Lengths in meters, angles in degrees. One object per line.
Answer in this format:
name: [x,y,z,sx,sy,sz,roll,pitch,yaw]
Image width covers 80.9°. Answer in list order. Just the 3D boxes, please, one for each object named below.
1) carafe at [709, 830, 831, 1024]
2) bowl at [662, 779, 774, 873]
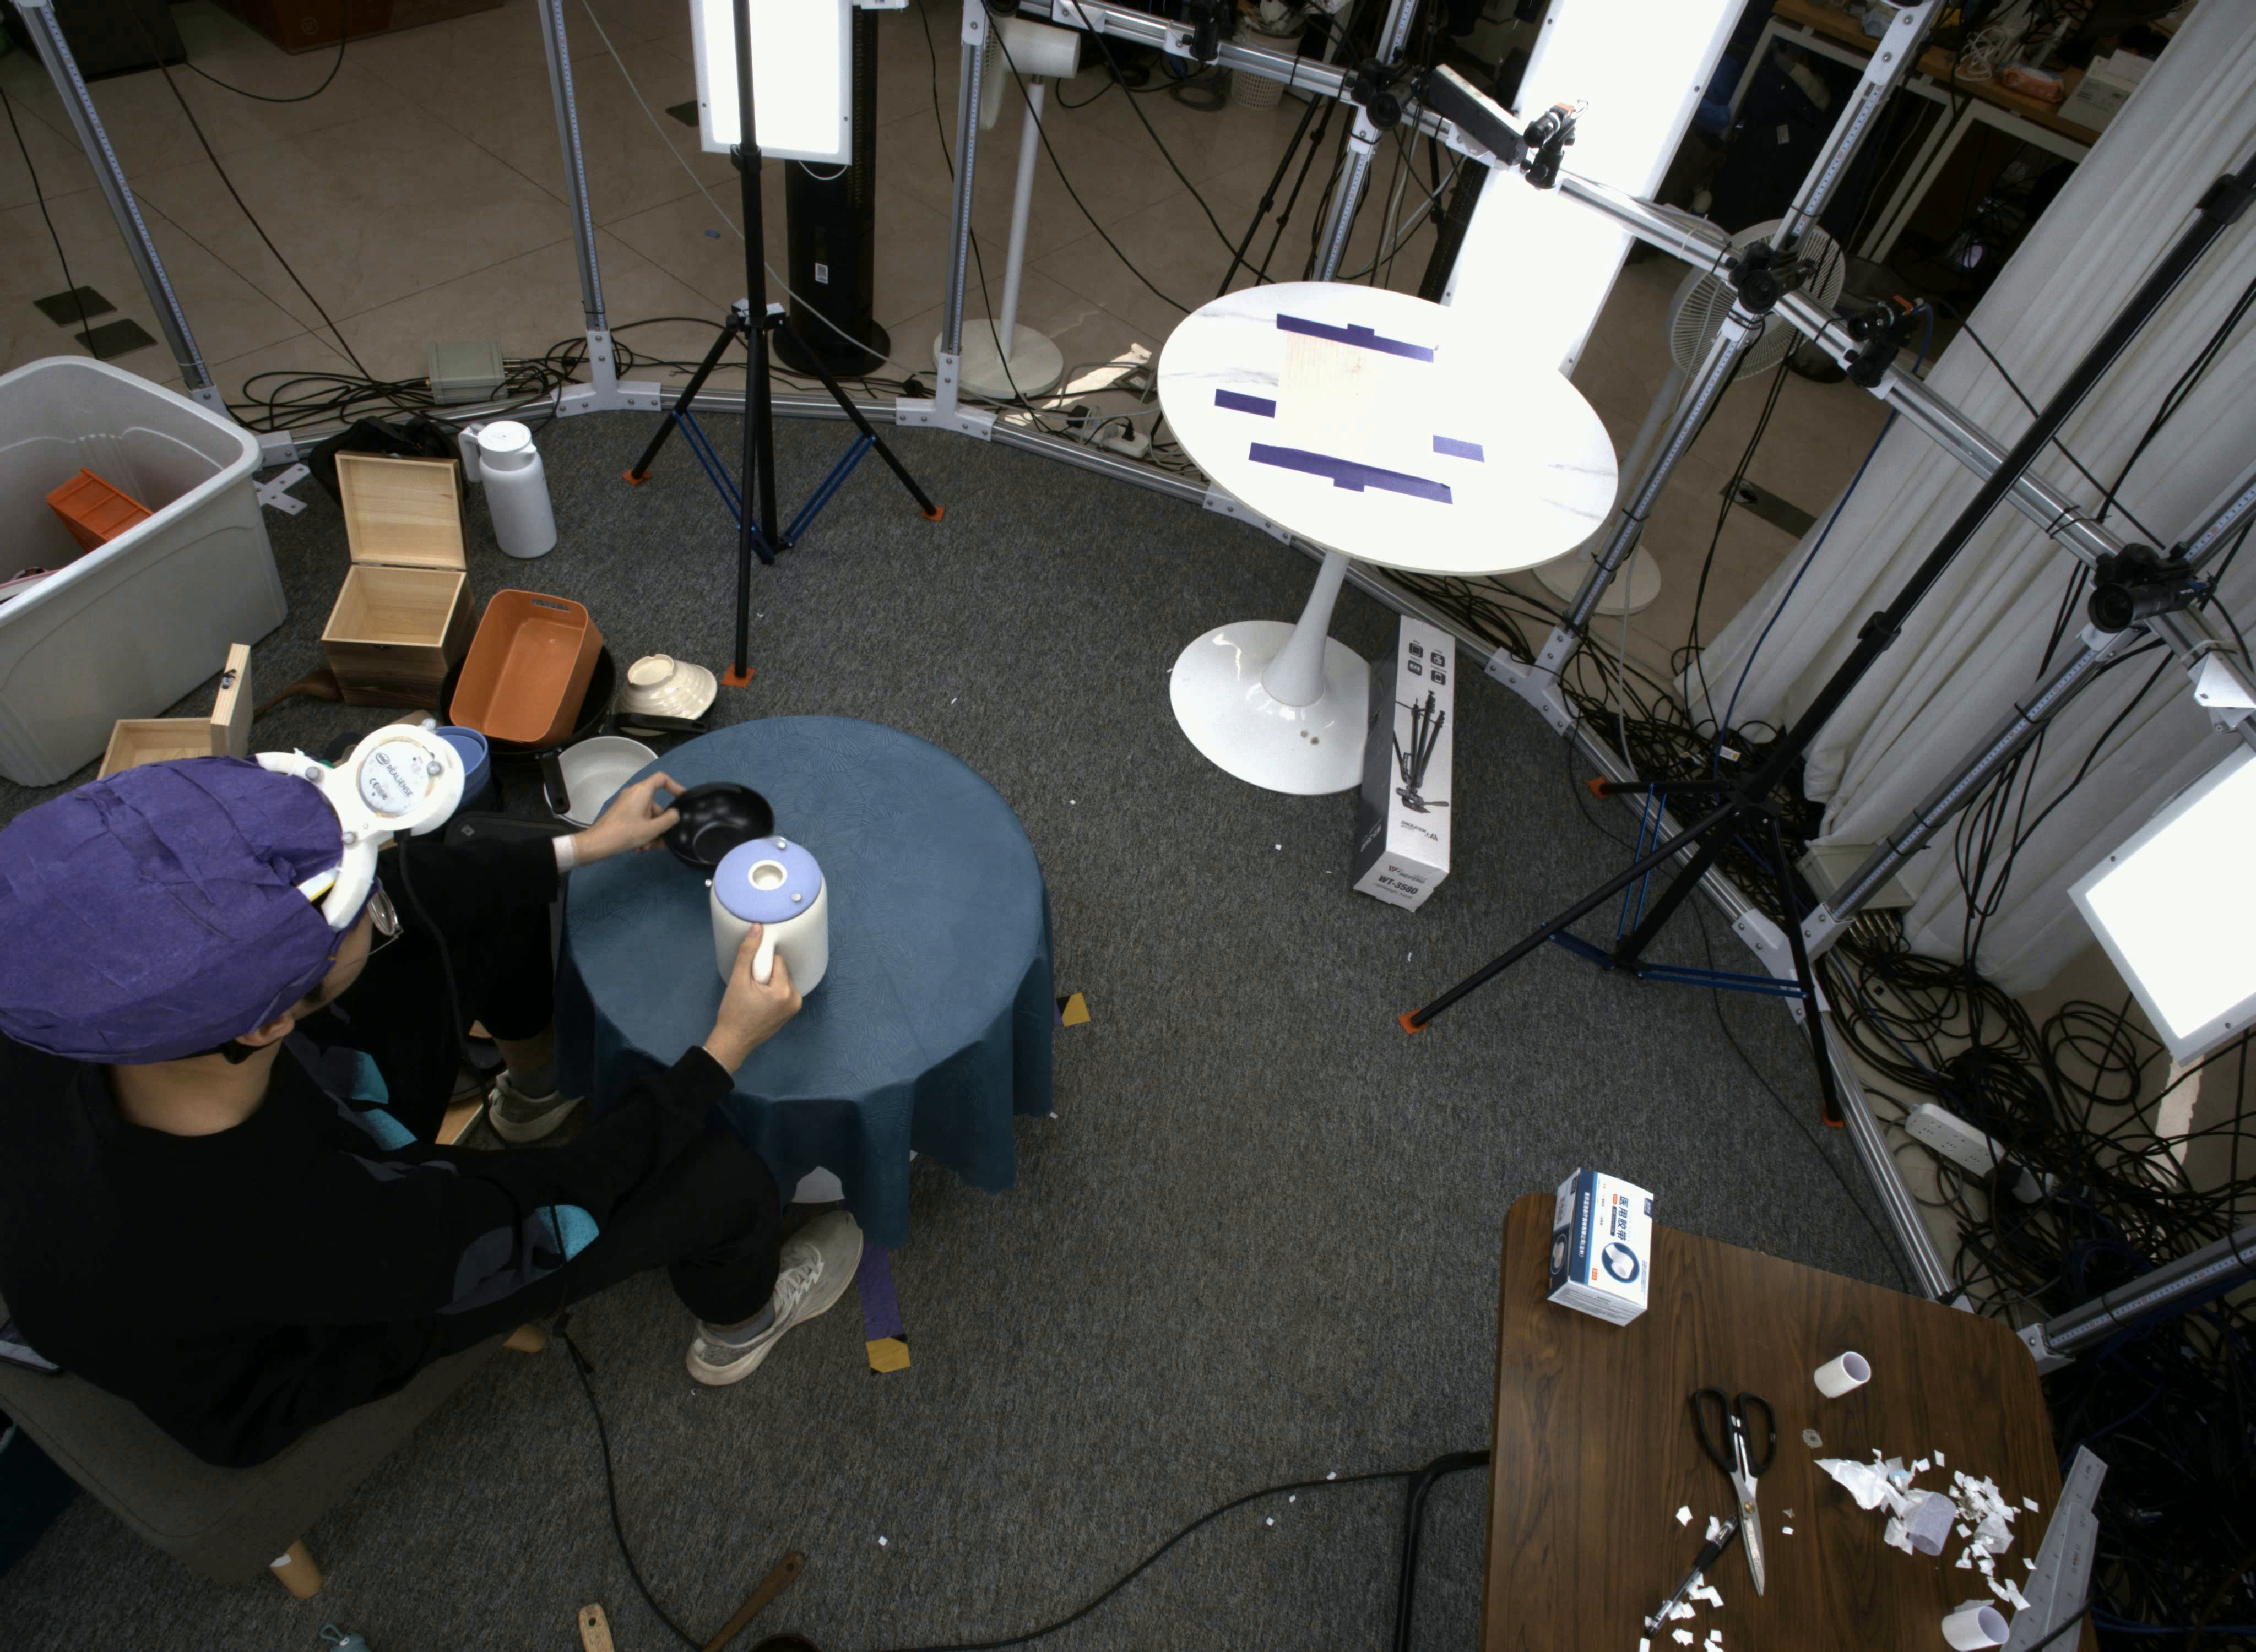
carafe: [-0.414,0.128,1.497,0.132,0.186,0.187,0,54,-11]
bowl: [-0.517,0.007,1.635,0.139,0.051,0.137,7,52,-7]
